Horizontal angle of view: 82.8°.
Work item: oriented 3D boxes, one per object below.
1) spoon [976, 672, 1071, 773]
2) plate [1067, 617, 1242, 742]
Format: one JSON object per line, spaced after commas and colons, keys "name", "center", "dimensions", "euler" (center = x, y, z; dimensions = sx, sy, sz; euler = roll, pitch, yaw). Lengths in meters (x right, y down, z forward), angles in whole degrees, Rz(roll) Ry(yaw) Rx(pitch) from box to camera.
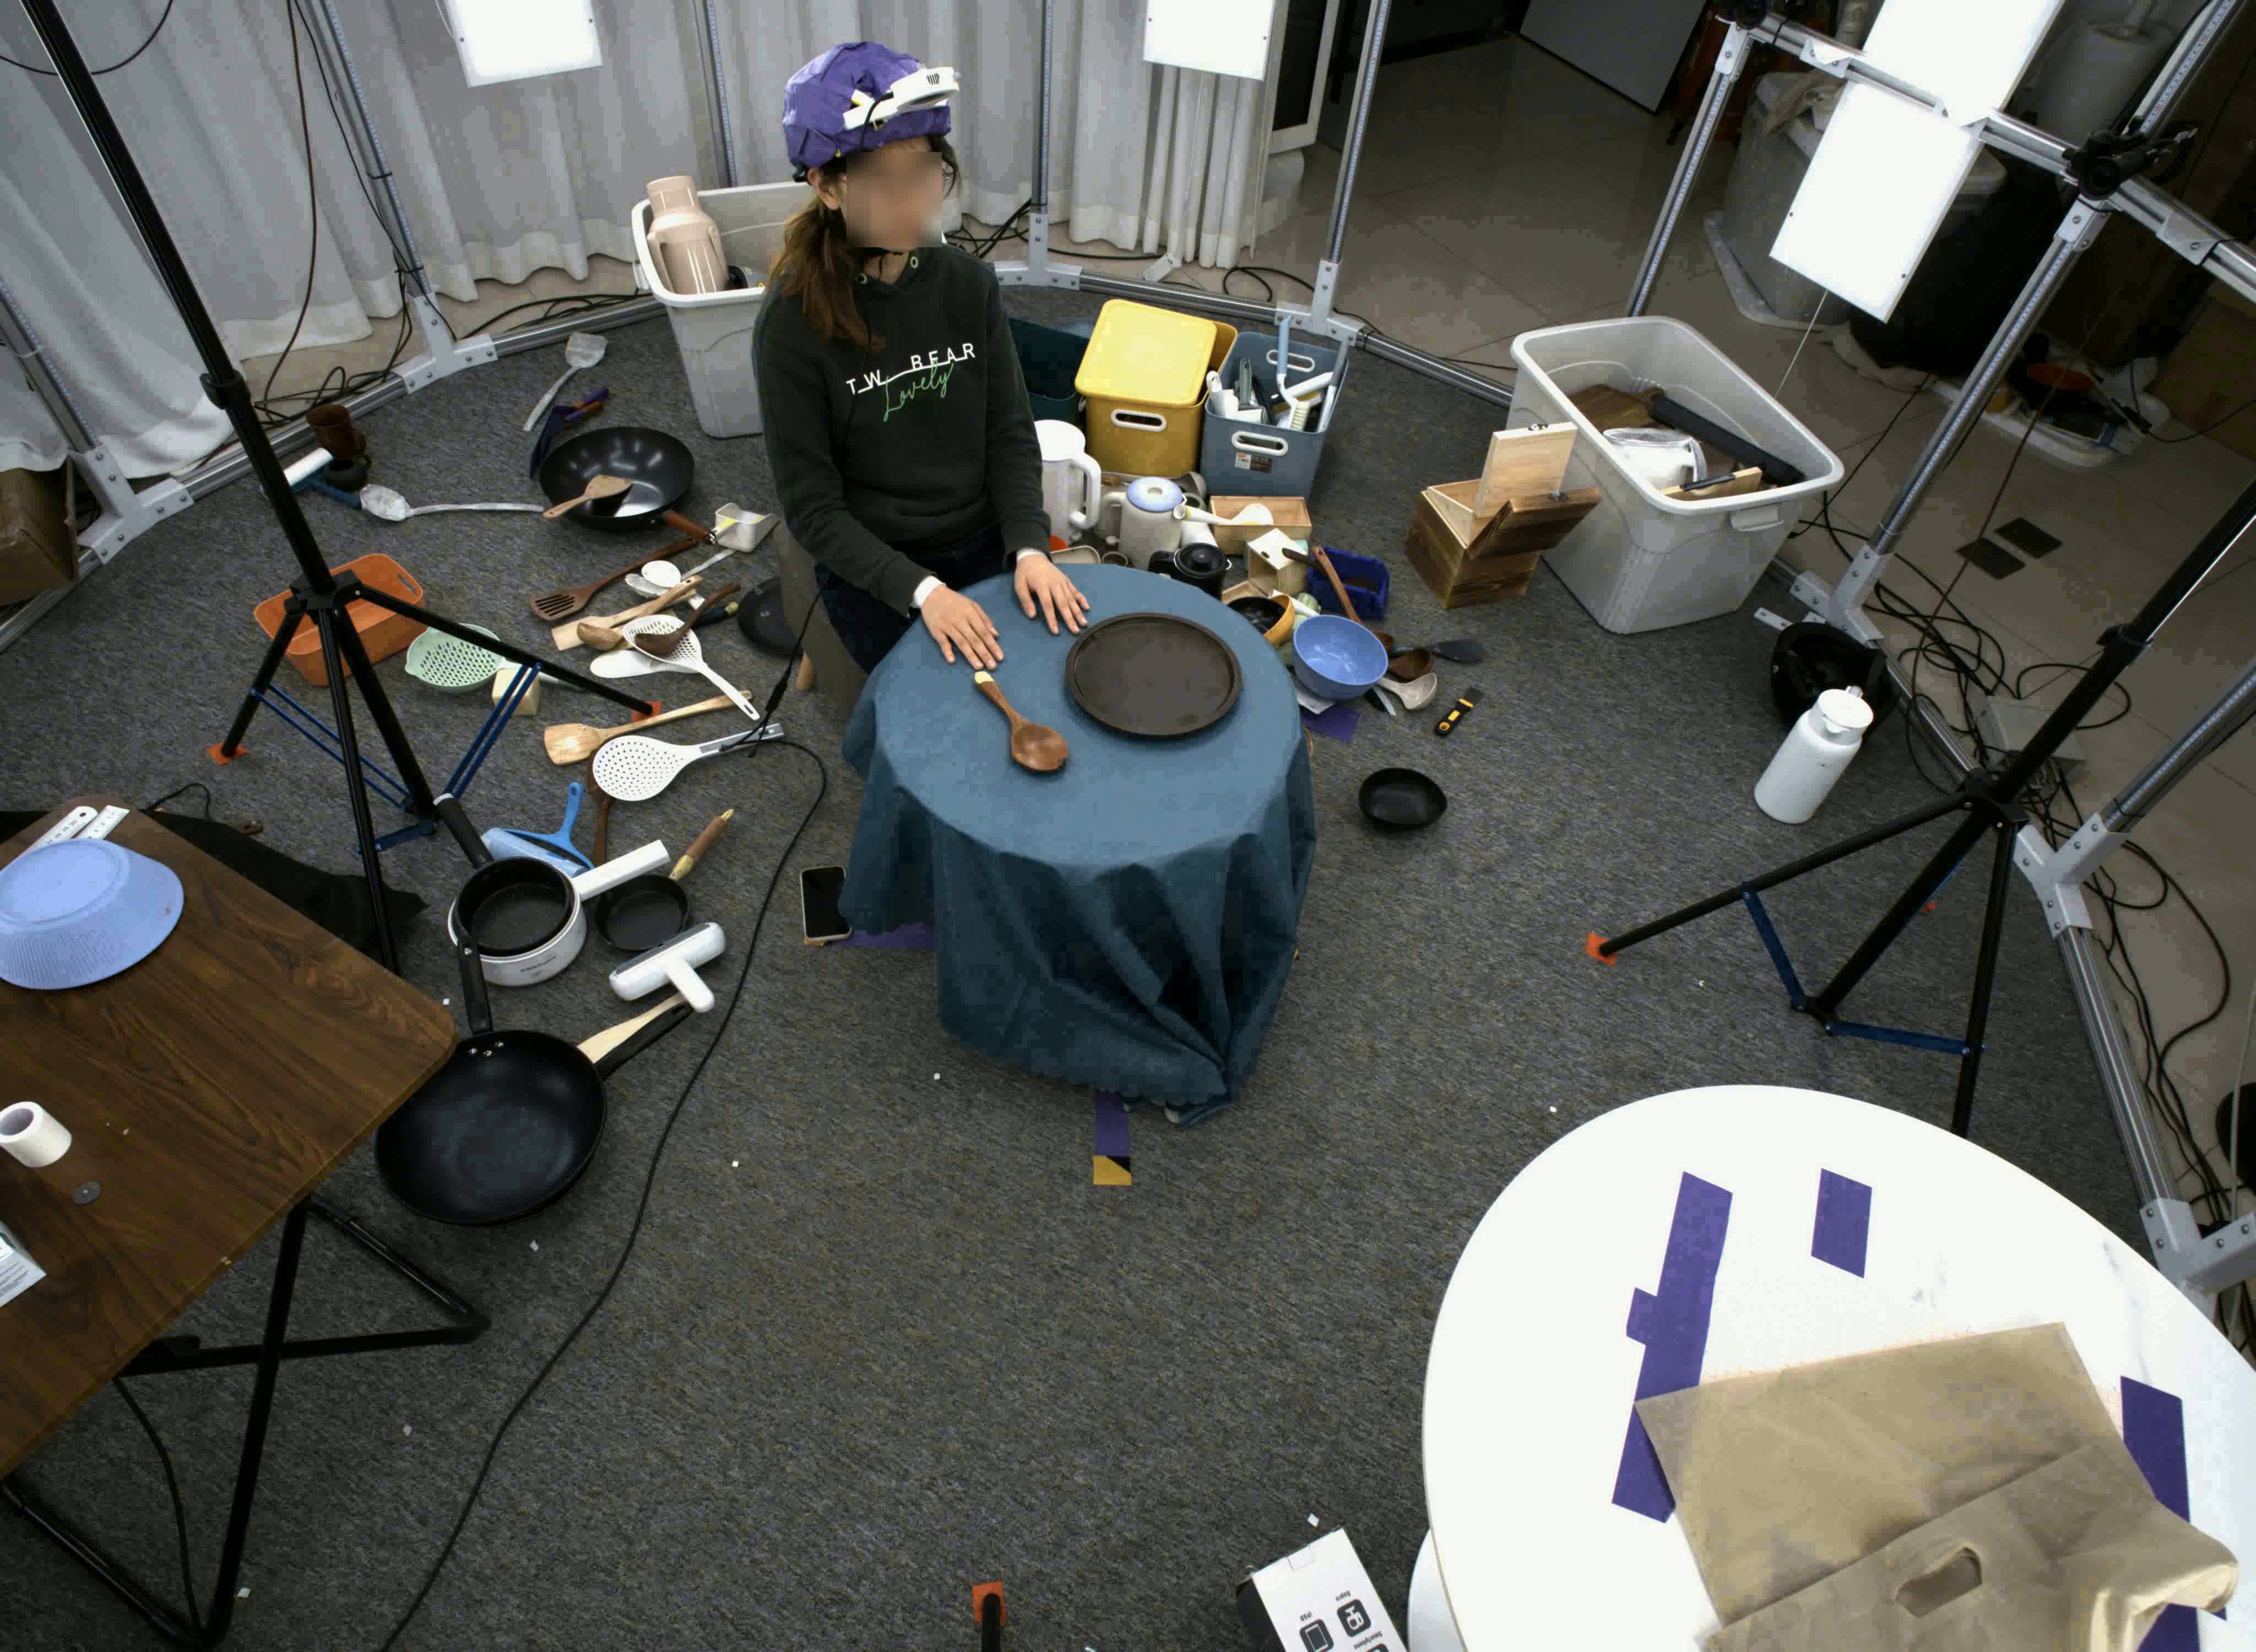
{"name": "spoon", "center": [-0.153, -0.145, 1.789], "dimensions": [0.076, 0.017, 0.220], "euler": [-24, 55, -22]}
{"name": "plate", "center": [0.038, -0.215, 1.860], "dimensions": [0.254, 0.028, 0.261], "euler": [2, 50, -3]}
